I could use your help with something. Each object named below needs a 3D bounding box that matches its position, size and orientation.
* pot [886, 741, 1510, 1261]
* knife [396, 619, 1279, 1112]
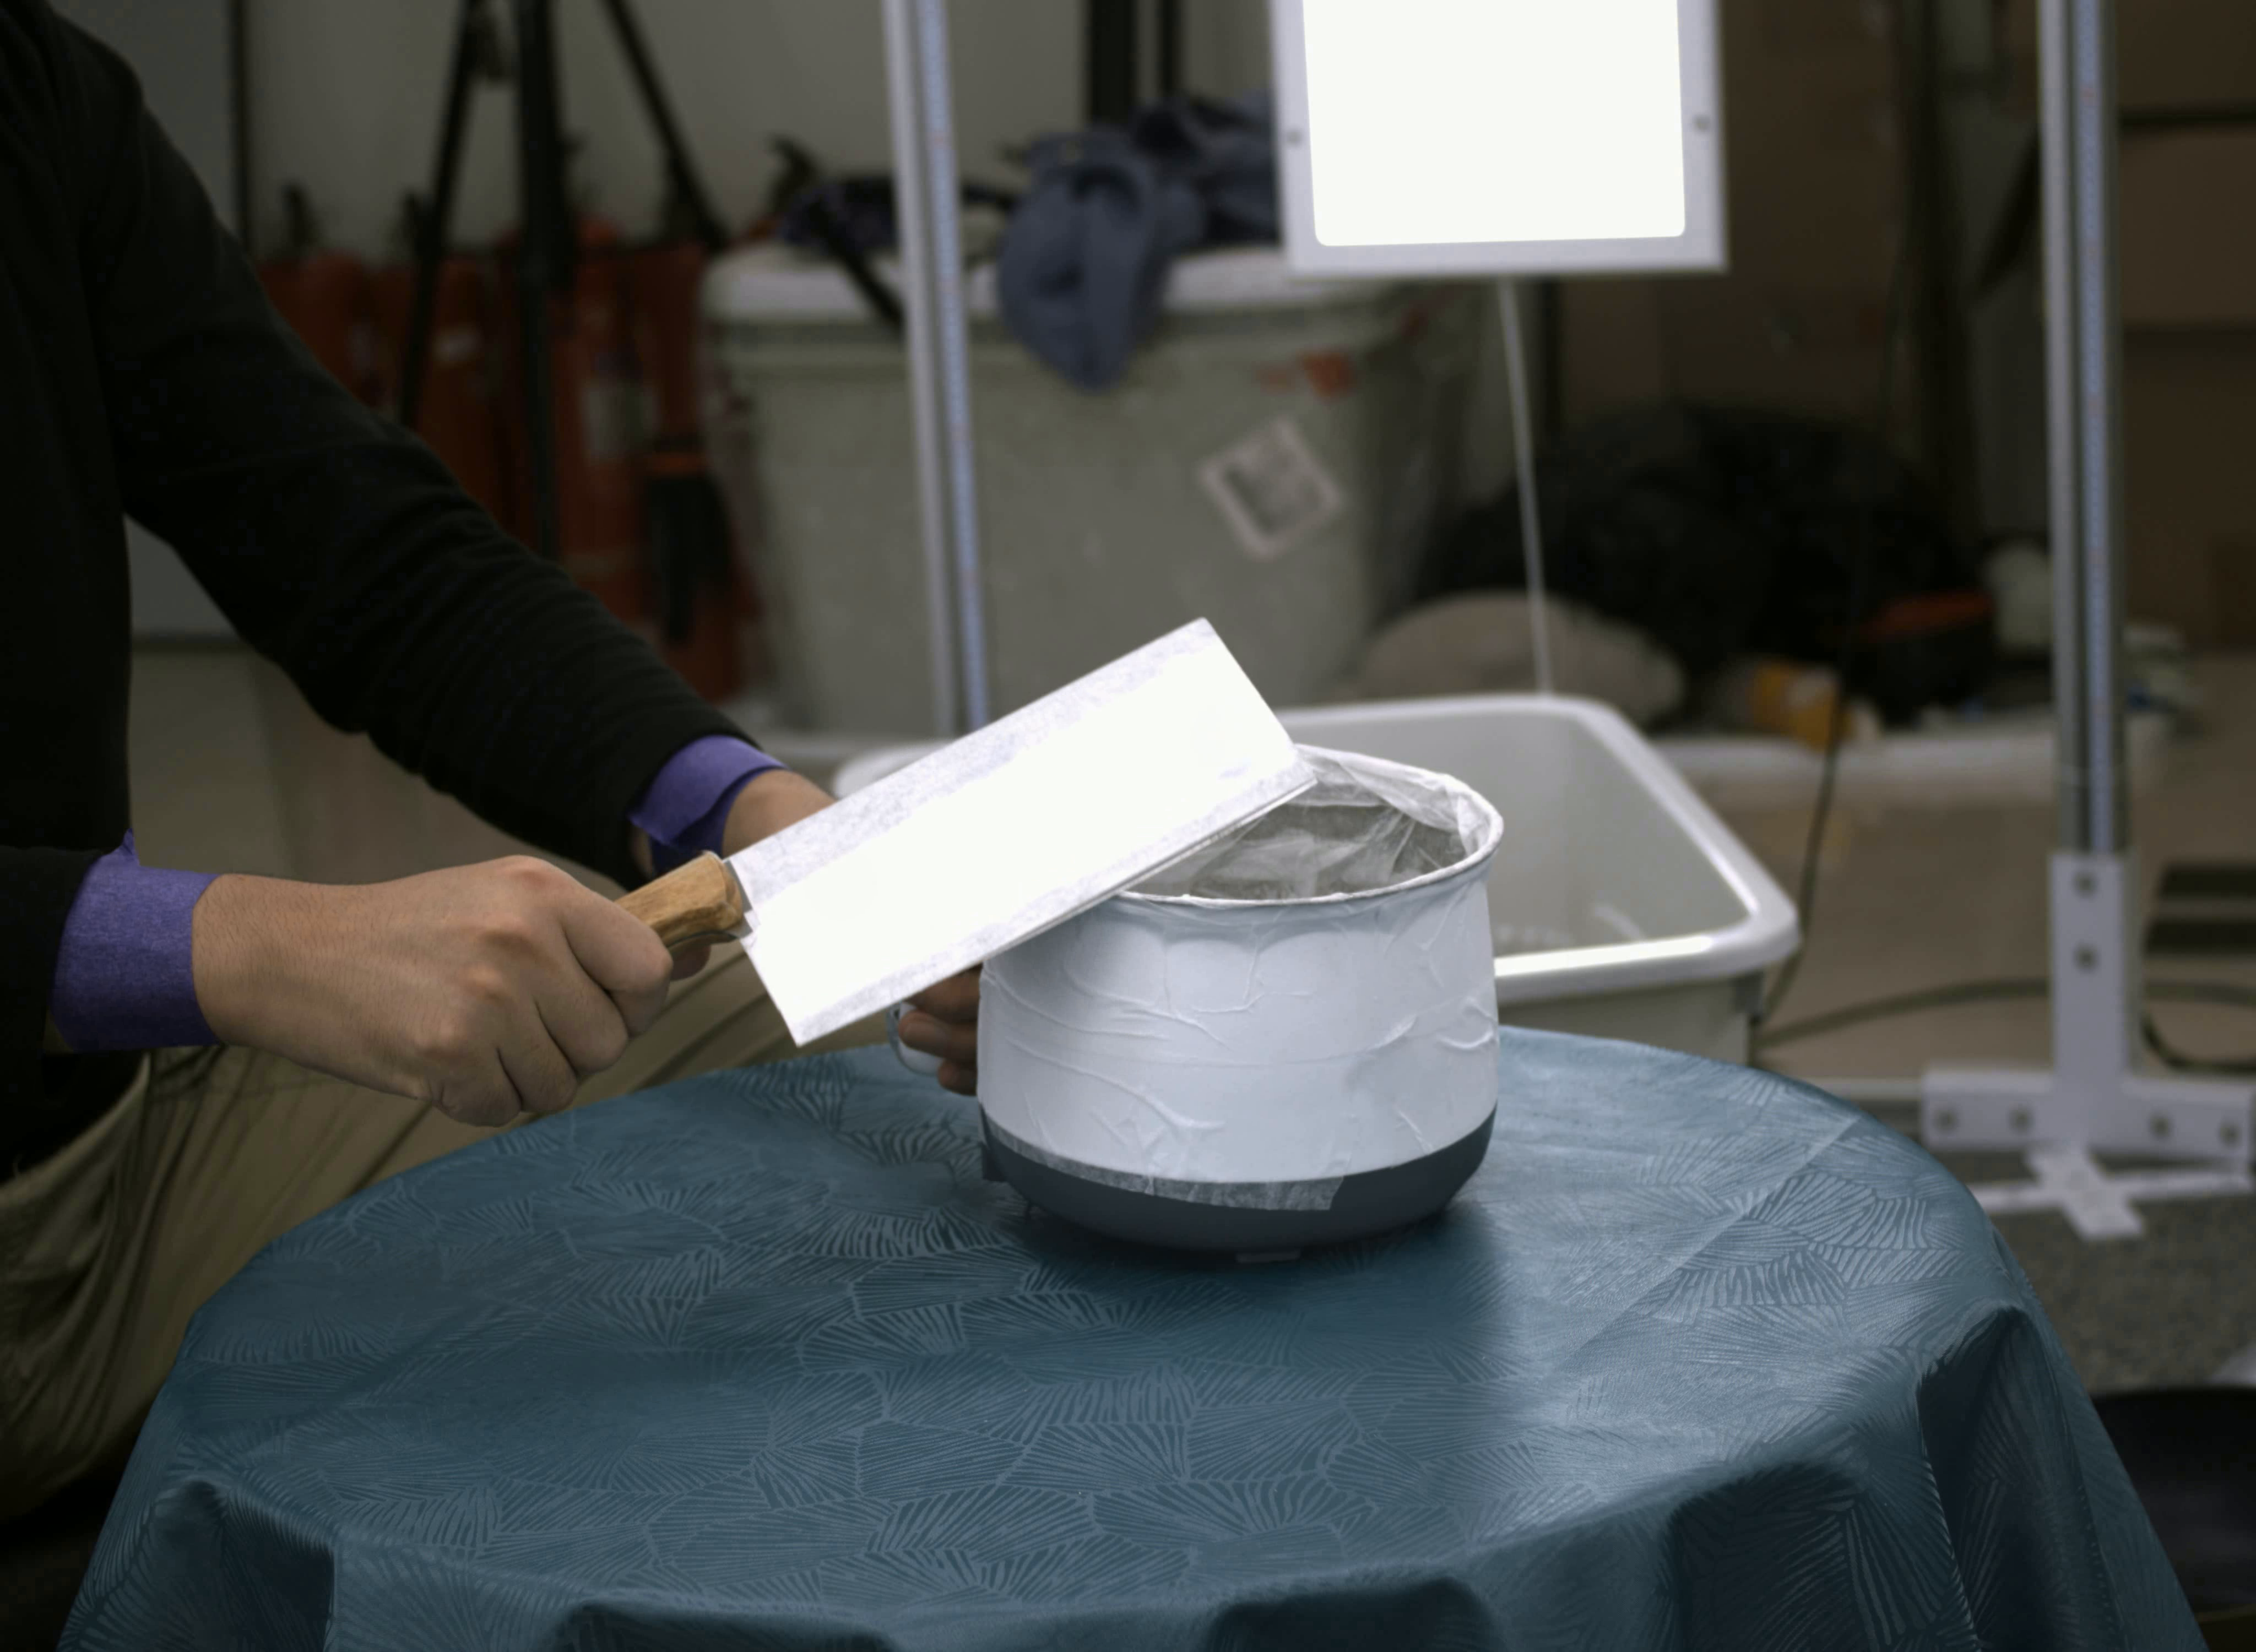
[{"bbox_3d":[0.015,0.052,1.871,0.238,0.137,0.174,13,21,35],"label":"pot"},{"bbox_3d":[-0.092,0.025,1.796,0.304,0.021,0.094,-28,44,-4],"label":"knife"}]
